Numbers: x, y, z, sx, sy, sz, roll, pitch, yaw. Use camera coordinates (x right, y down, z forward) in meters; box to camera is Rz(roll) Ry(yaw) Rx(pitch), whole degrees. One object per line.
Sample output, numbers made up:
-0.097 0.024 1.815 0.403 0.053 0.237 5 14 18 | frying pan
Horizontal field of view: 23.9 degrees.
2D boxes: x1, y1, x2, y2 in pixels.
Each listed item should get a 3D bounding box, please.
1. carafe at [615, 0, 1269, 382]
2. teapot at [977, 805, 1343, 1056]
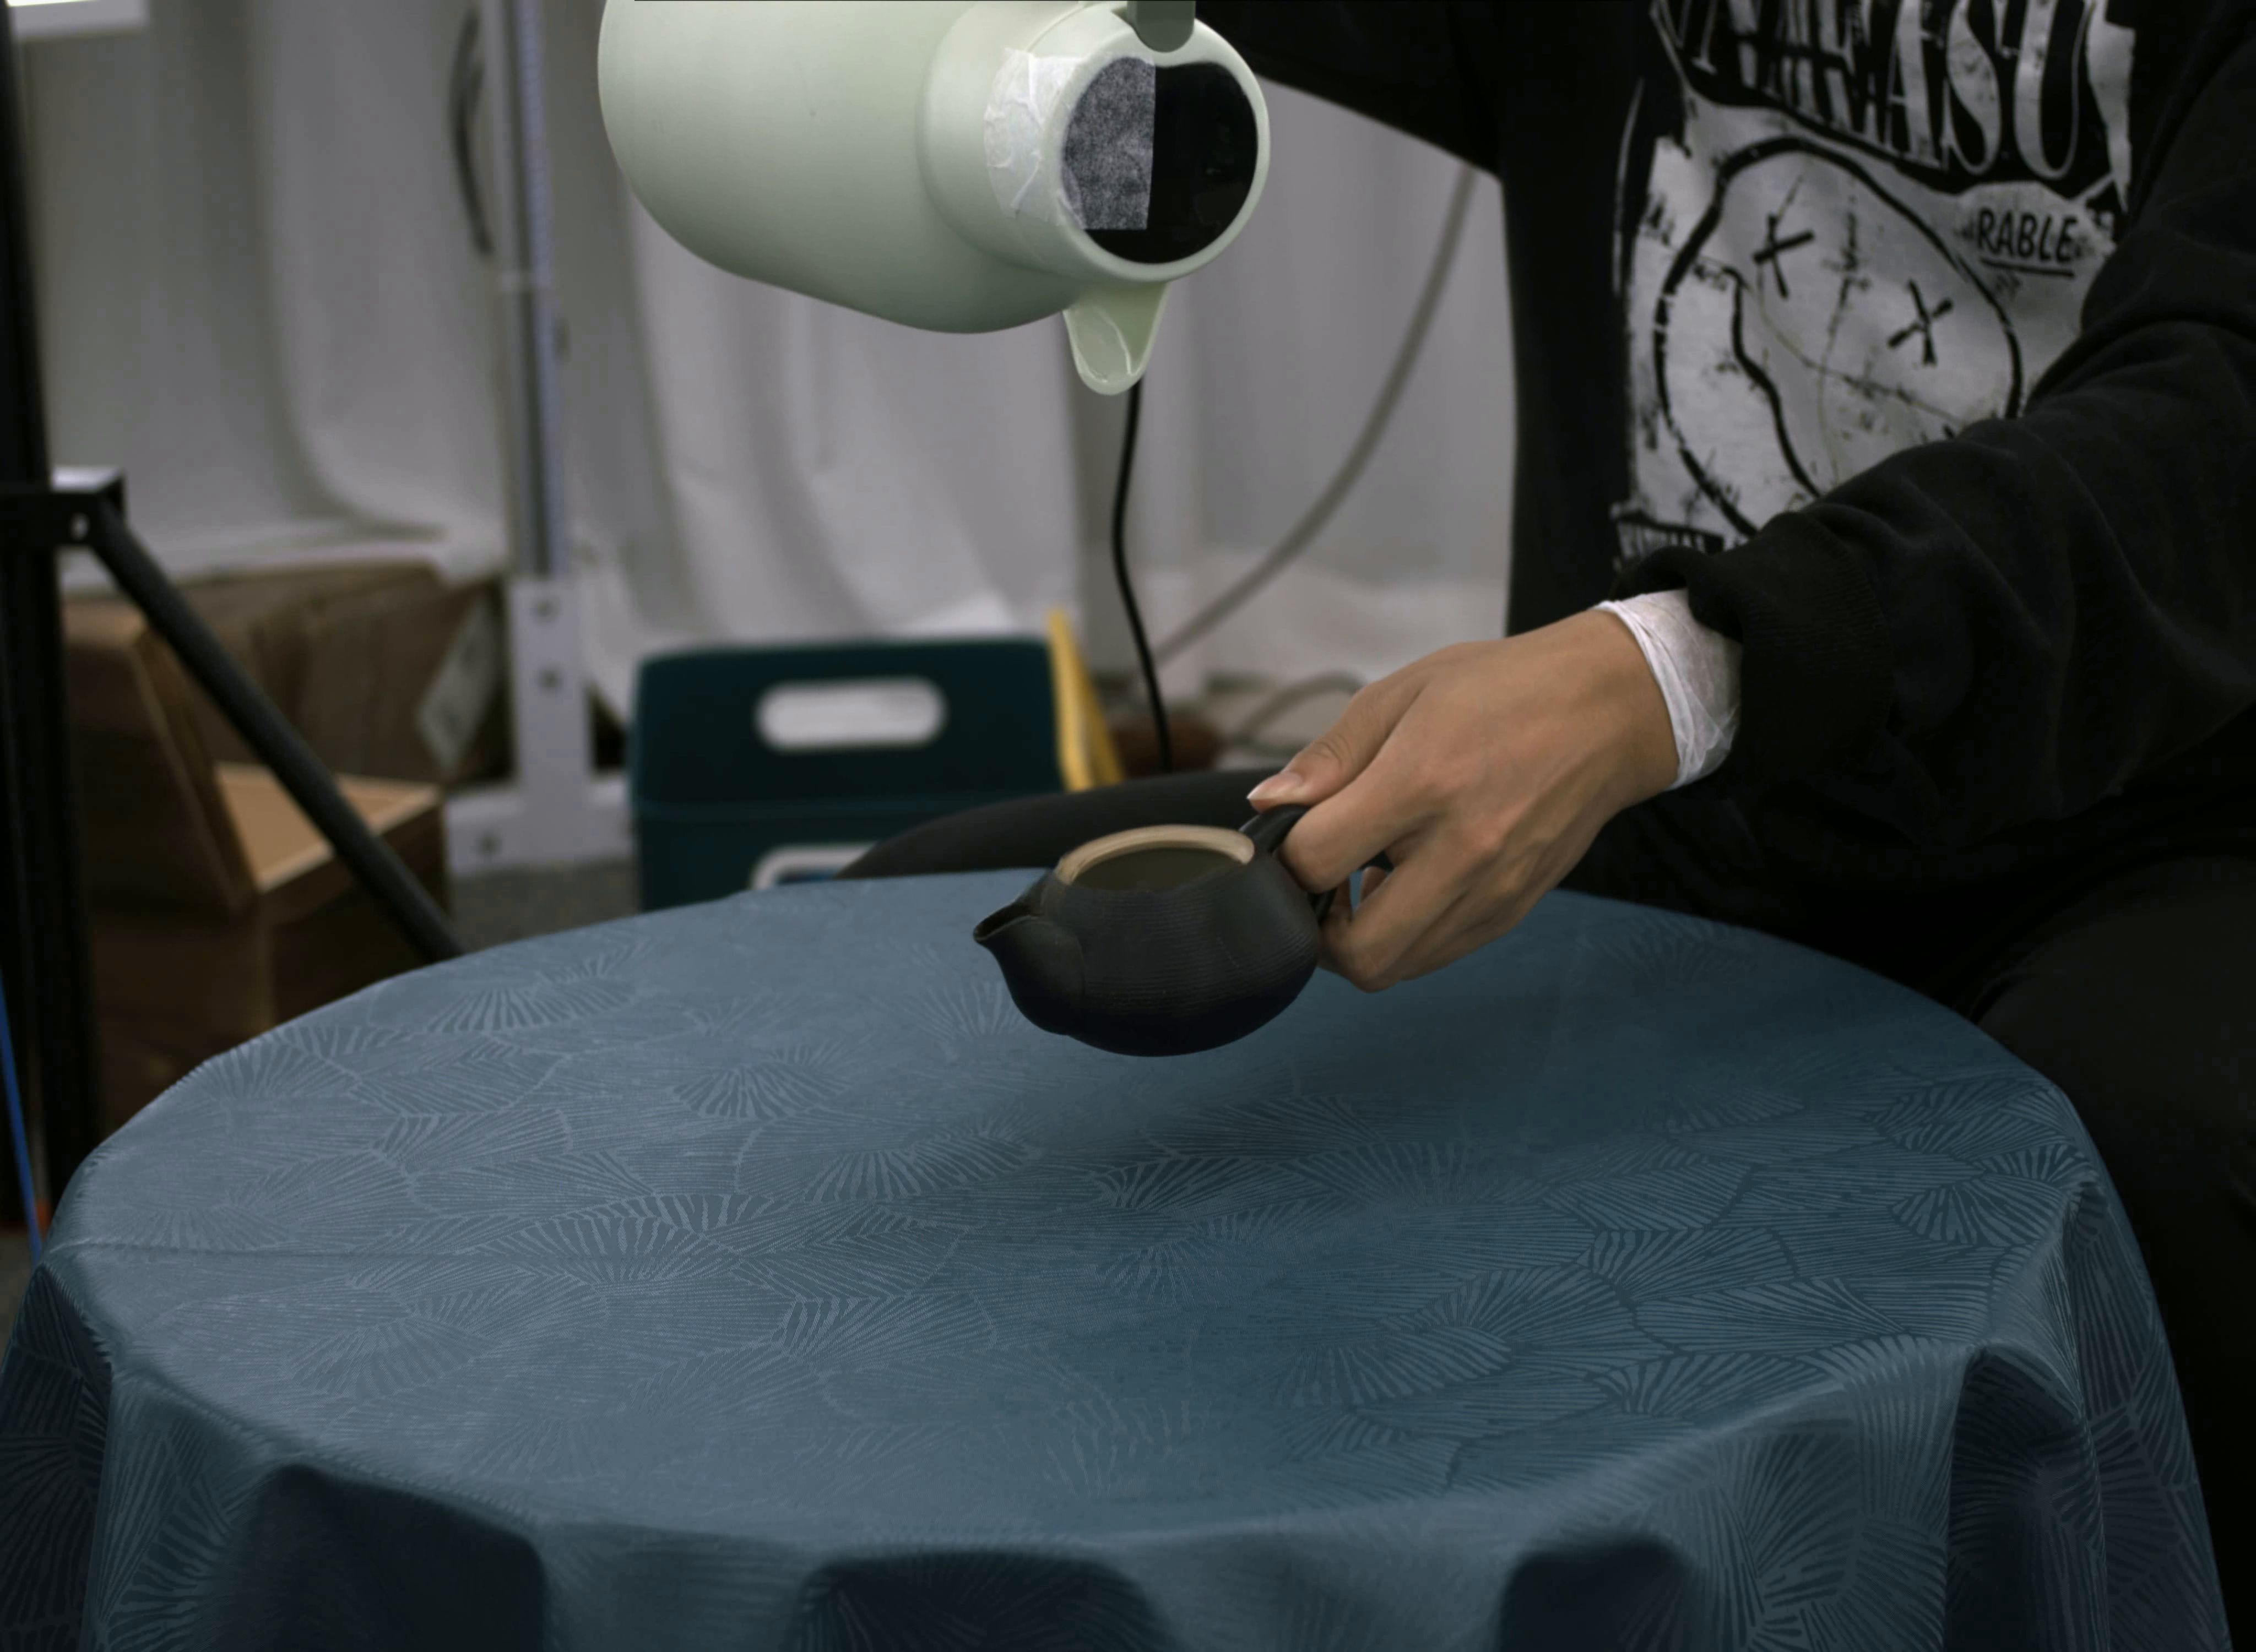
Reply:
-0.047 -0.237 1.611 0.141 0.187 0.262 -5 13 -25 | carafe
0.012 0.033 1.558 0.130 0.053 0.093 -21 24 -33 | teapot
